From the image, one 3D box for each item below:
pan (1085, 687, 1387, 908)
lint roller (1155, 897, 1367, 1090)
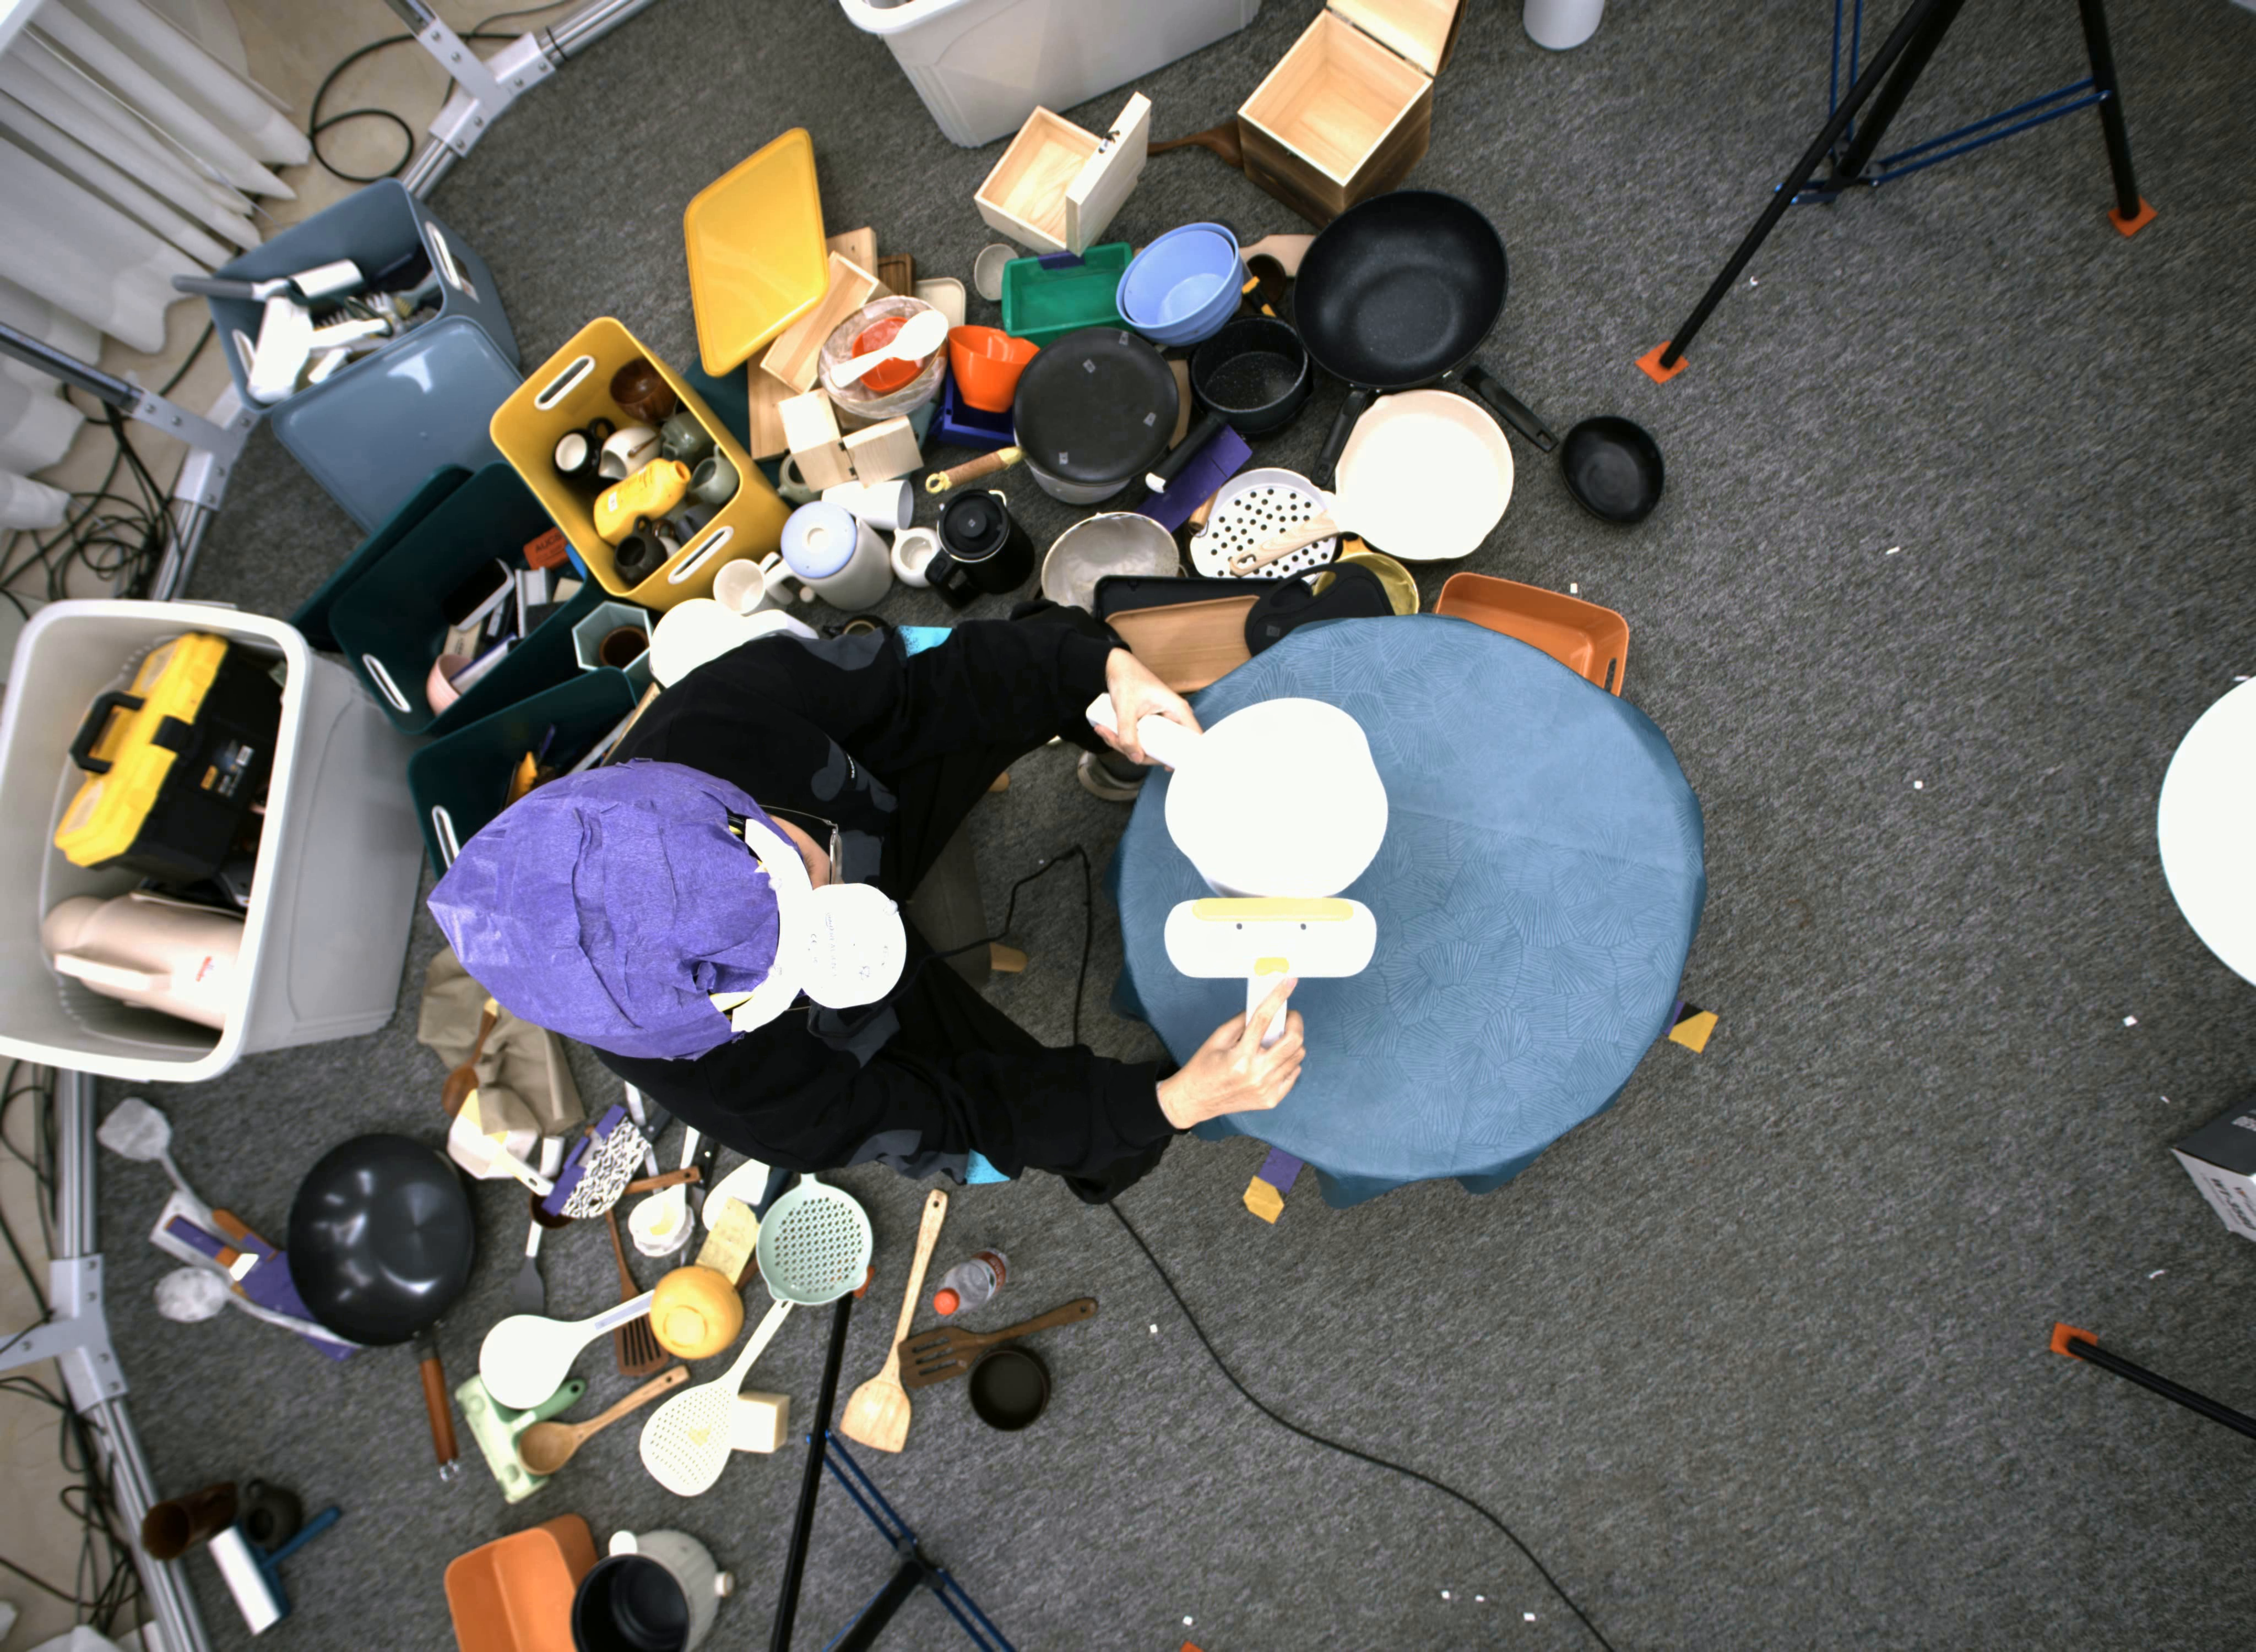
[{"bbox_3d":[0.094,-0.044,1.357,0.199,0.104,0.352,-49,46,-12],"label":"pan"},{"bbox_3d":[0.126,0.156,1.288,0.193,0.072,0.197,-6,124,-2],"label":"lint roller"}]
